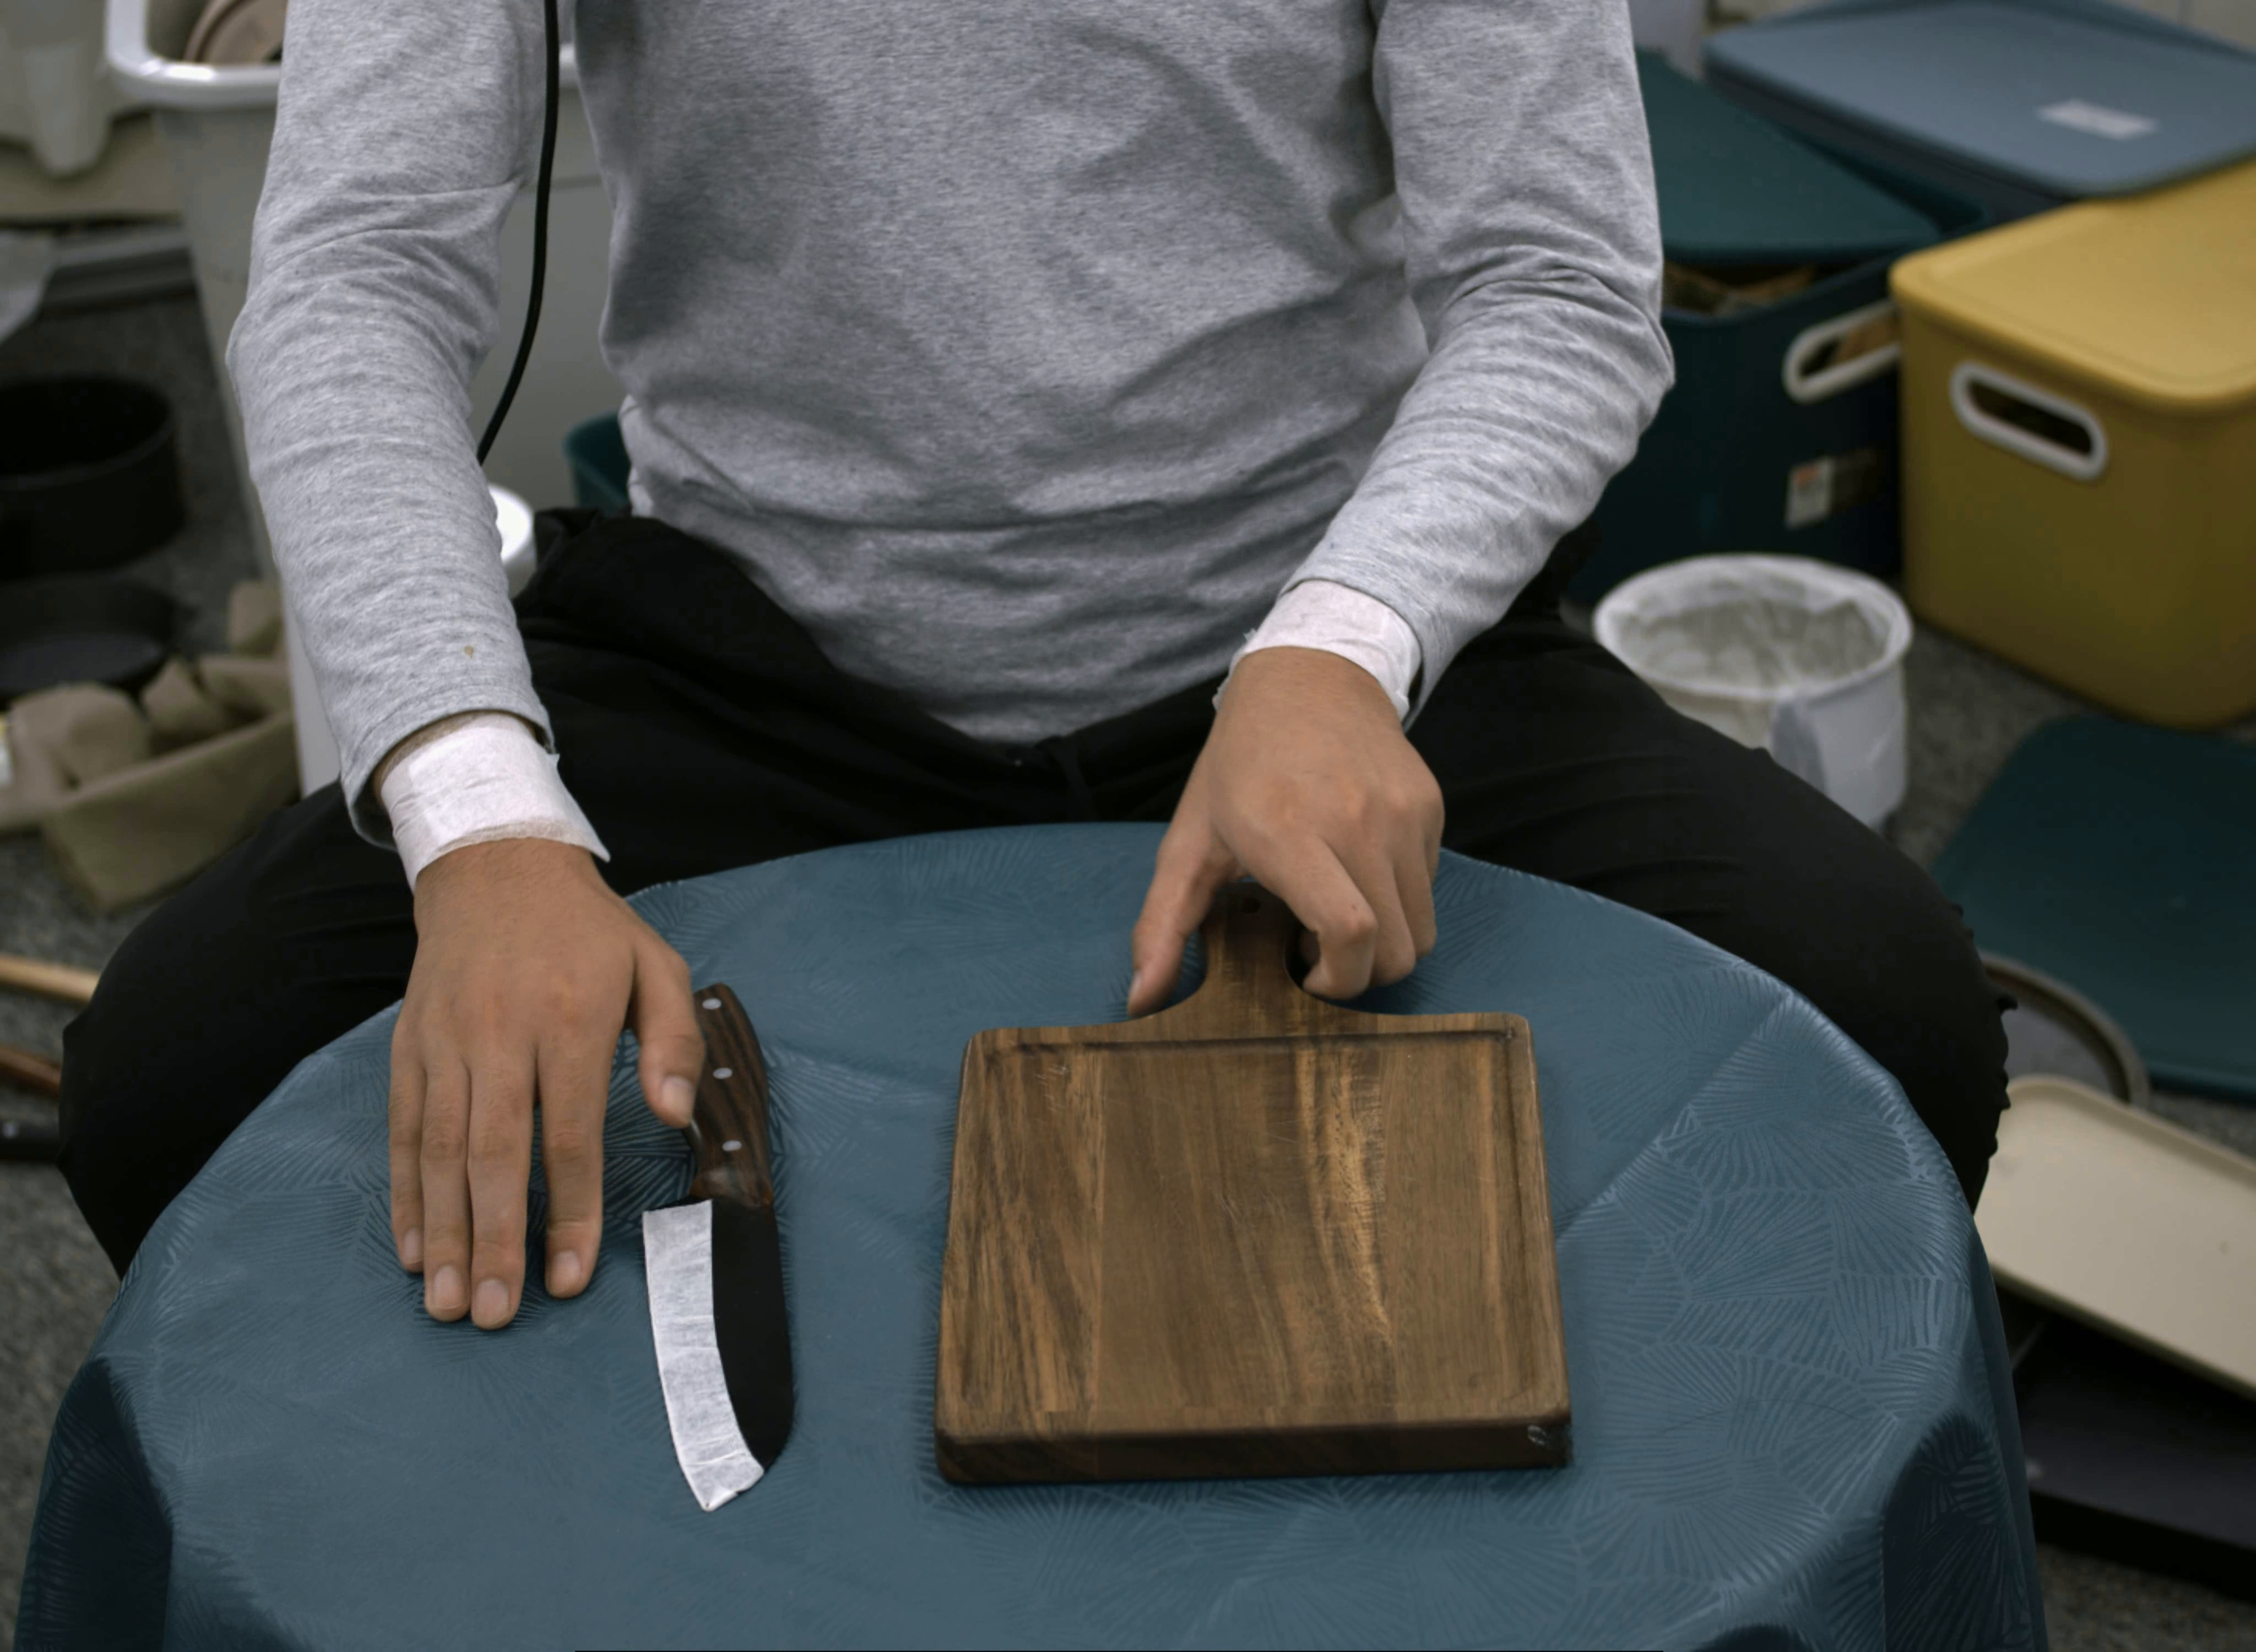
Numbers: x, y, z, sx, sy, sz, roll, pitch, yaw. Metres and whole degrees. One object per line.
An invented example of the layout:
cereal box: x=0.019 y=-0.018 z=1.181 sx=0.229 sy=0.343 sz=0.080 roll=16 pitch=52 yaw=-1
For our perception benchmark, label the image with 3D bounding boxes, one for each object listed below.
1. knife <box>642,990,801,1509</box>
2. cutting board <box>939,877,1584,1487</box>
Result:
knife: x=-0.134 y=0.136 z=1.831 sx=0.050 sy=0.020 sz=0.293 roll=-8 pitch=30 yaw=0
cutting board: x=0.041 y=0.109 z=1.860 sx=0.200 sy=0.023 sz=0.357 roll=-1 pitch=27 yaw=1
